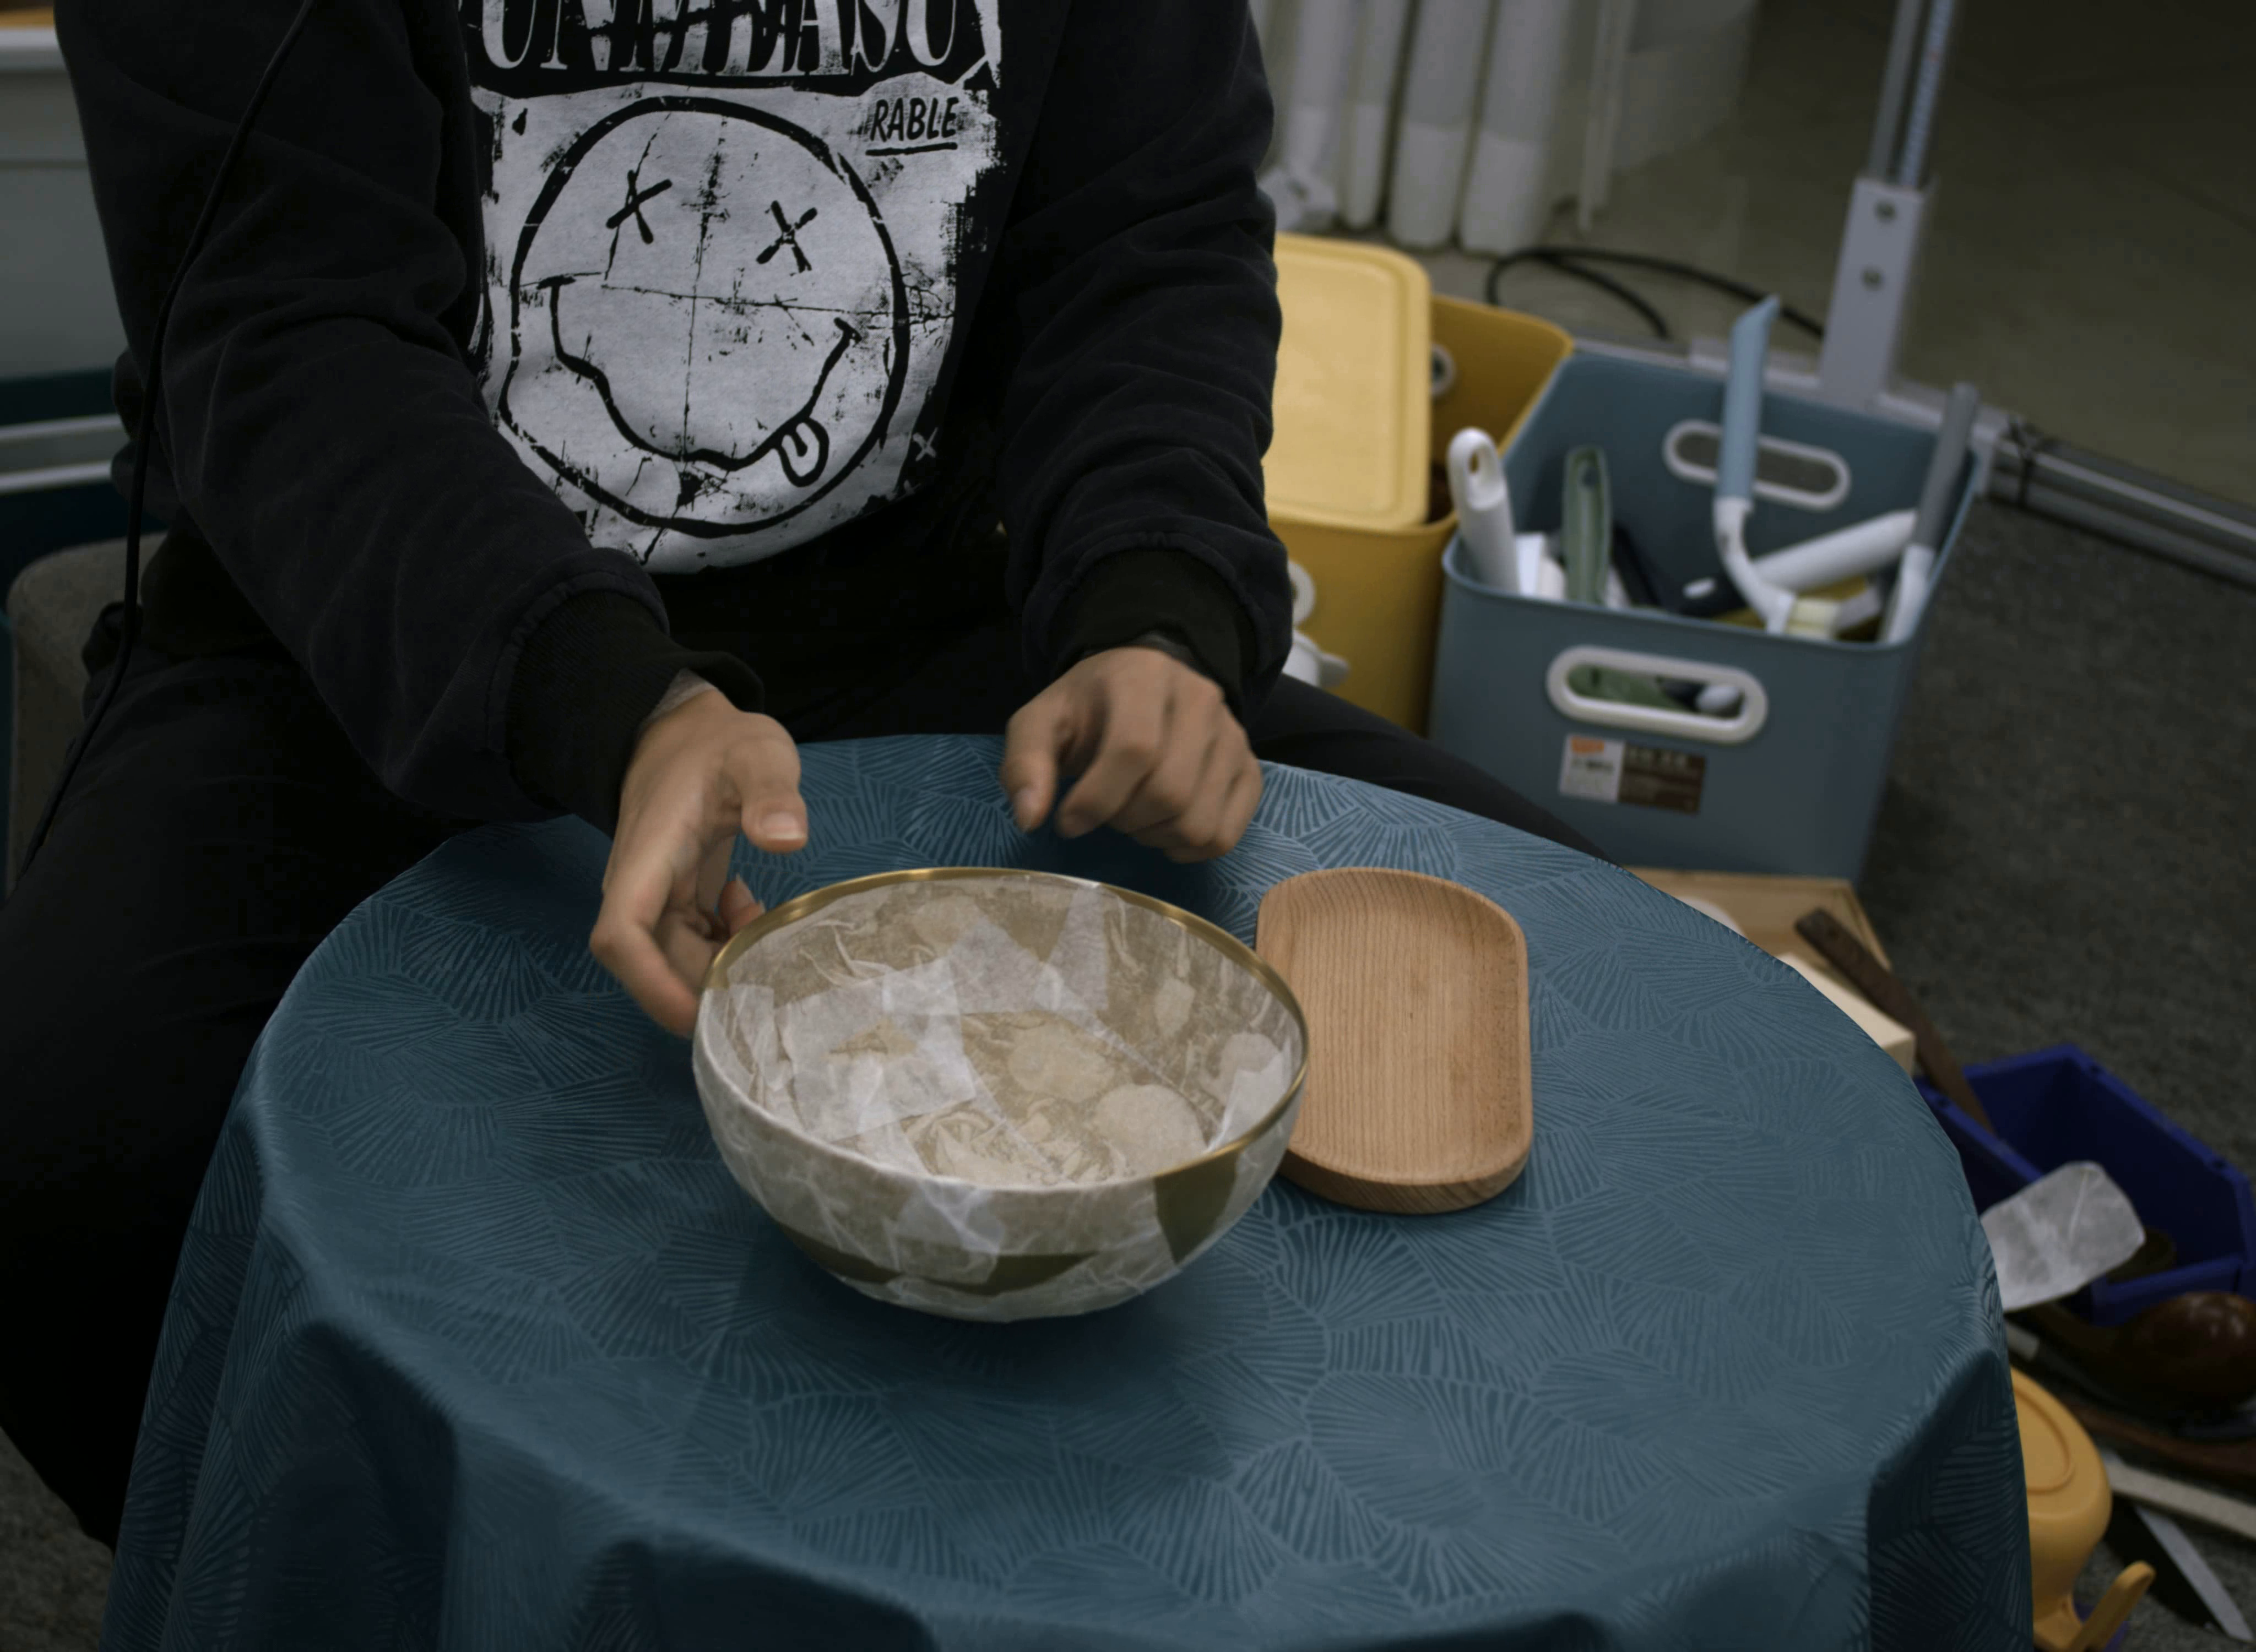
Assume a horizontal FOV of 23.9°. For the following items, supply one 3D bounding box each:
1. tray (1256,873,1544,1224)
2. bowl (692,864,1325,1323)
[{"bbox_3d":[0.095,0.077,1.897,0.101,0.020,0.232,4,28,0],"label":"tray"},{"bbox_3d":[-0.040,0.099,1.735,0.214,0.094,0.216,3,28,-2],"label":"bowl"}]
